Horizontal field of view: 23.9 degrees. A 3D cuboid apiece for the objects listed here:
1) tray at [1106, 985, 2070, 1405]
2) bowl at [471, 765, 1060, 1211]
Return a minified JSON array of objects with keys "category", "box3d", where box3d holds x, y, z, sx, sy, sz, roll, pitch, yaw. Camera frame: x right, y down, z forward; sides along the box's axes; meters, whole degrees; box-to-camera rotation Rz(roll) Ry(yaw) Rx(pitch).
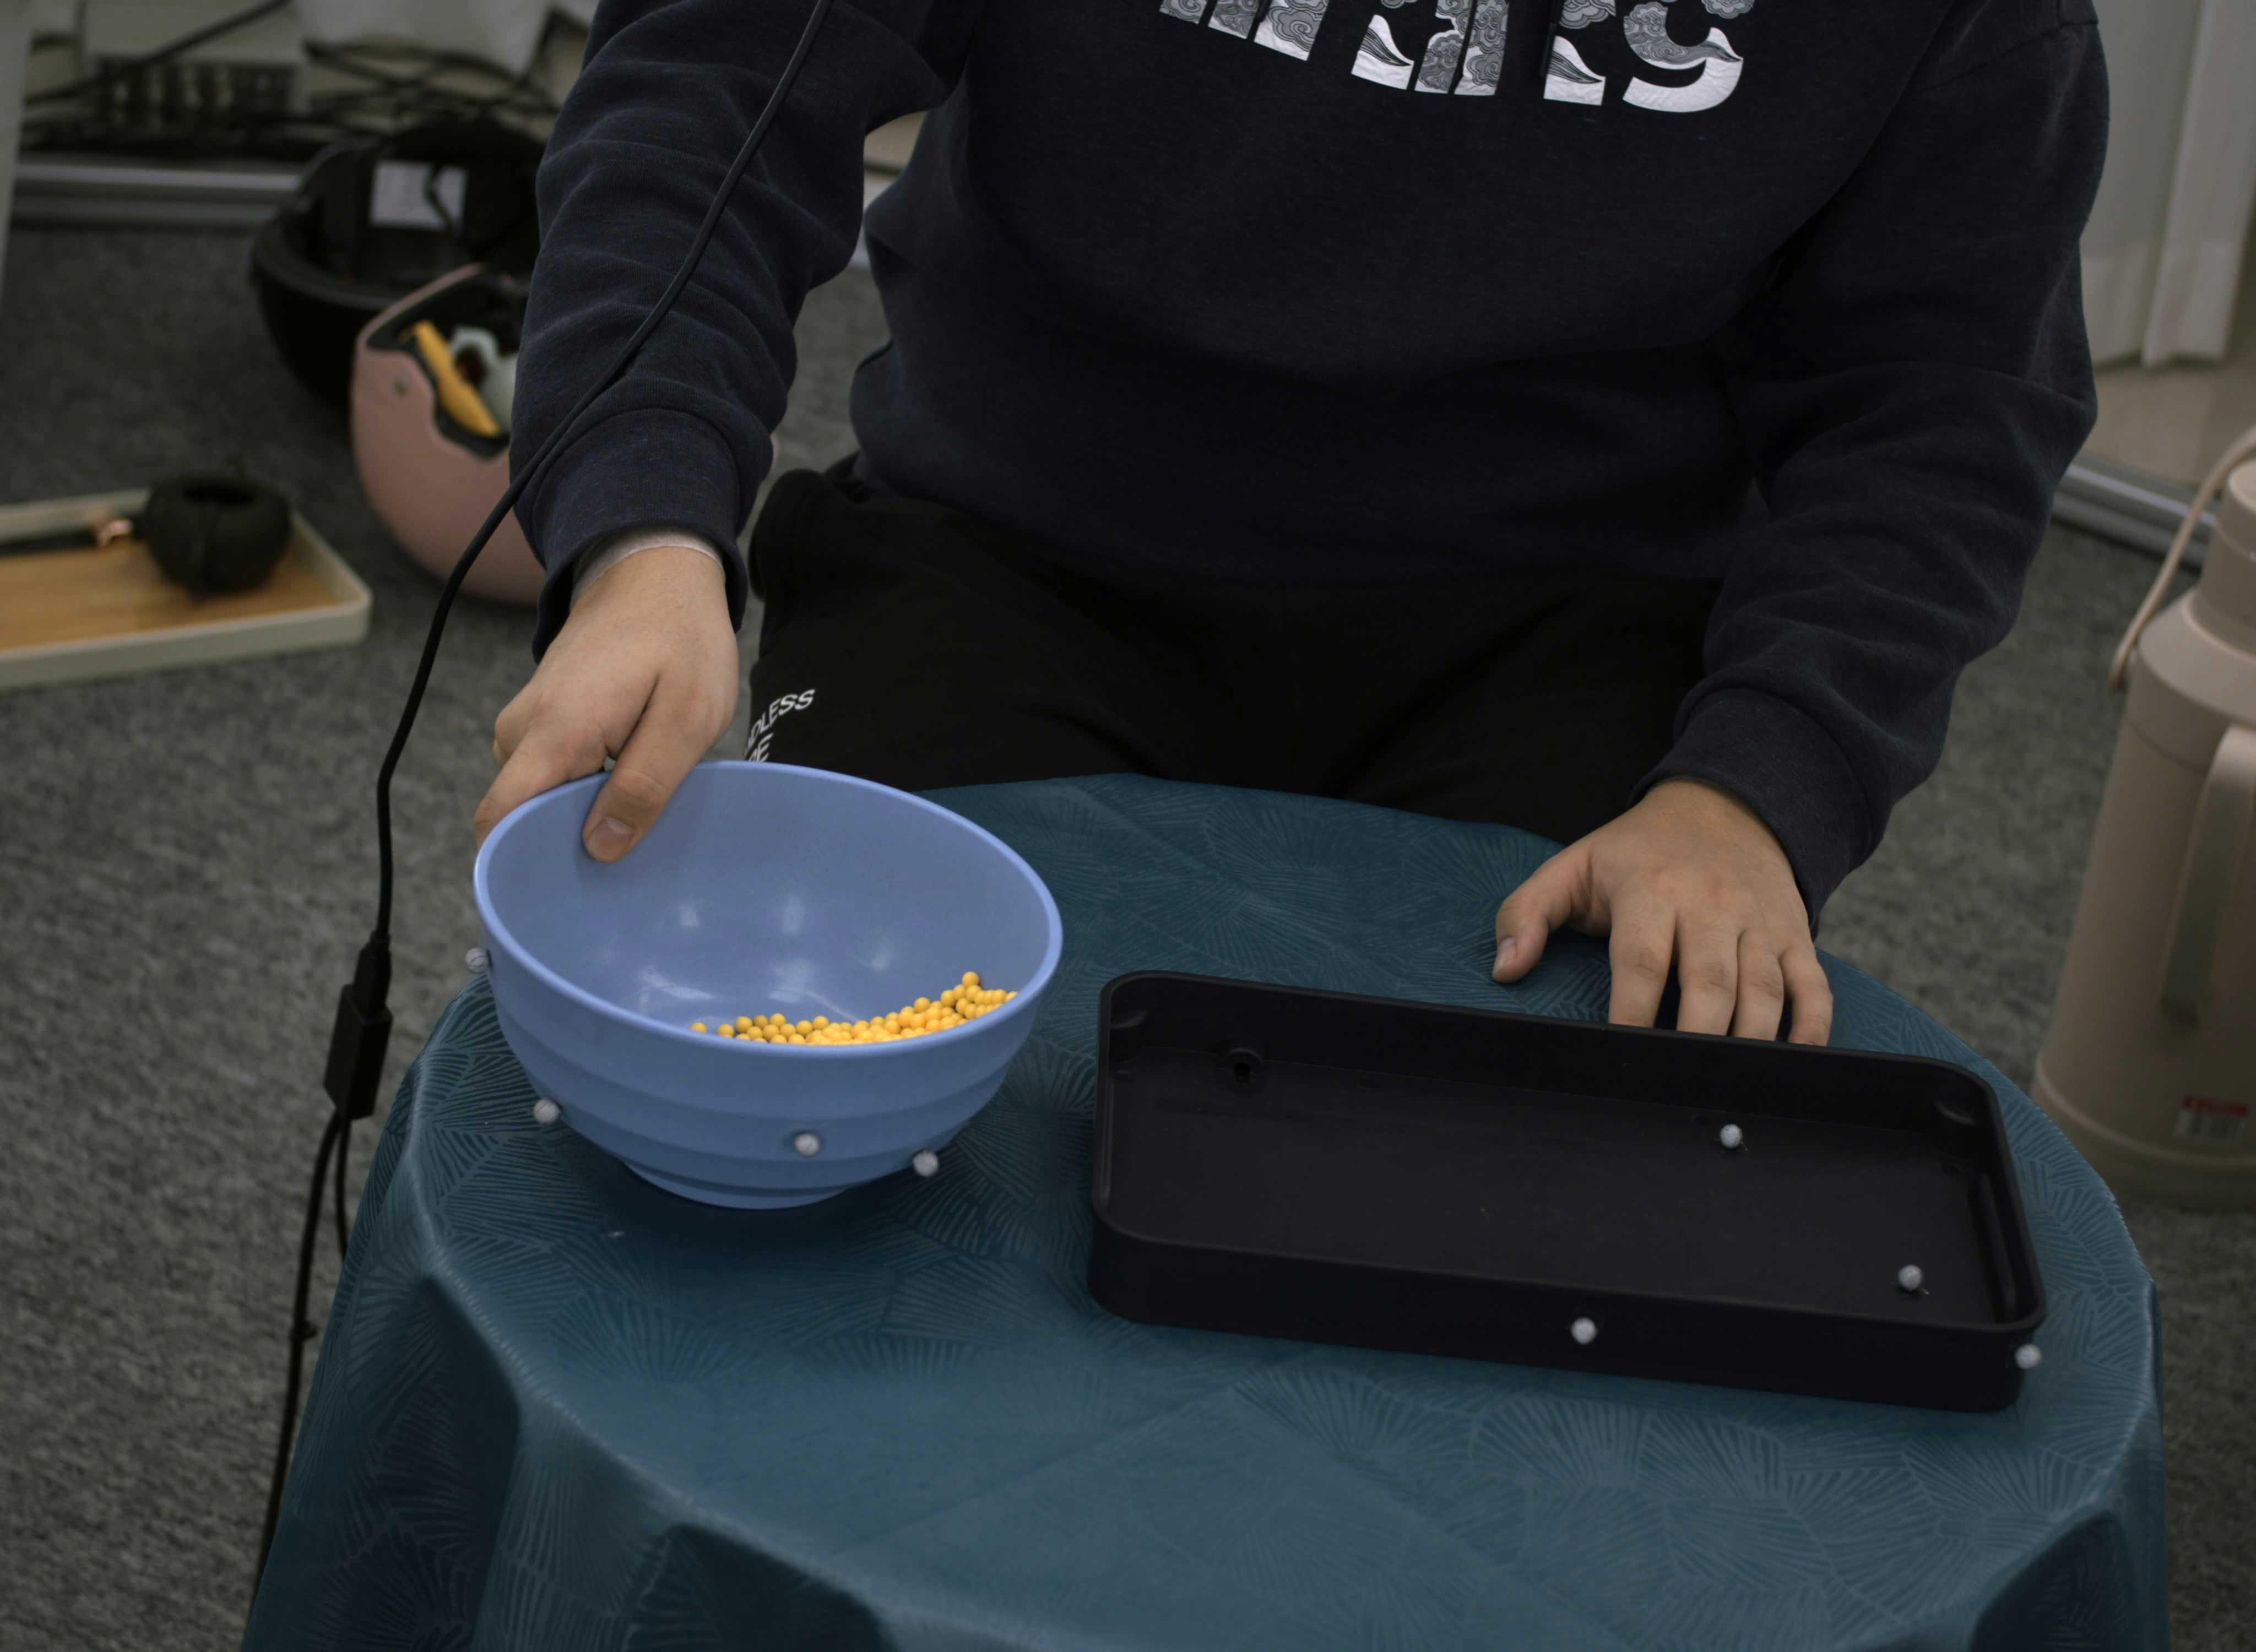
[{"category":"tray","box3d":[0.149,0.123,1.806,0.317,0.037,0.185,5,26,-2]},{"category":"bowl","box3d":[-0.125,0.065,1.786,0.196,0.095,0.198,5,27,-3]}]
